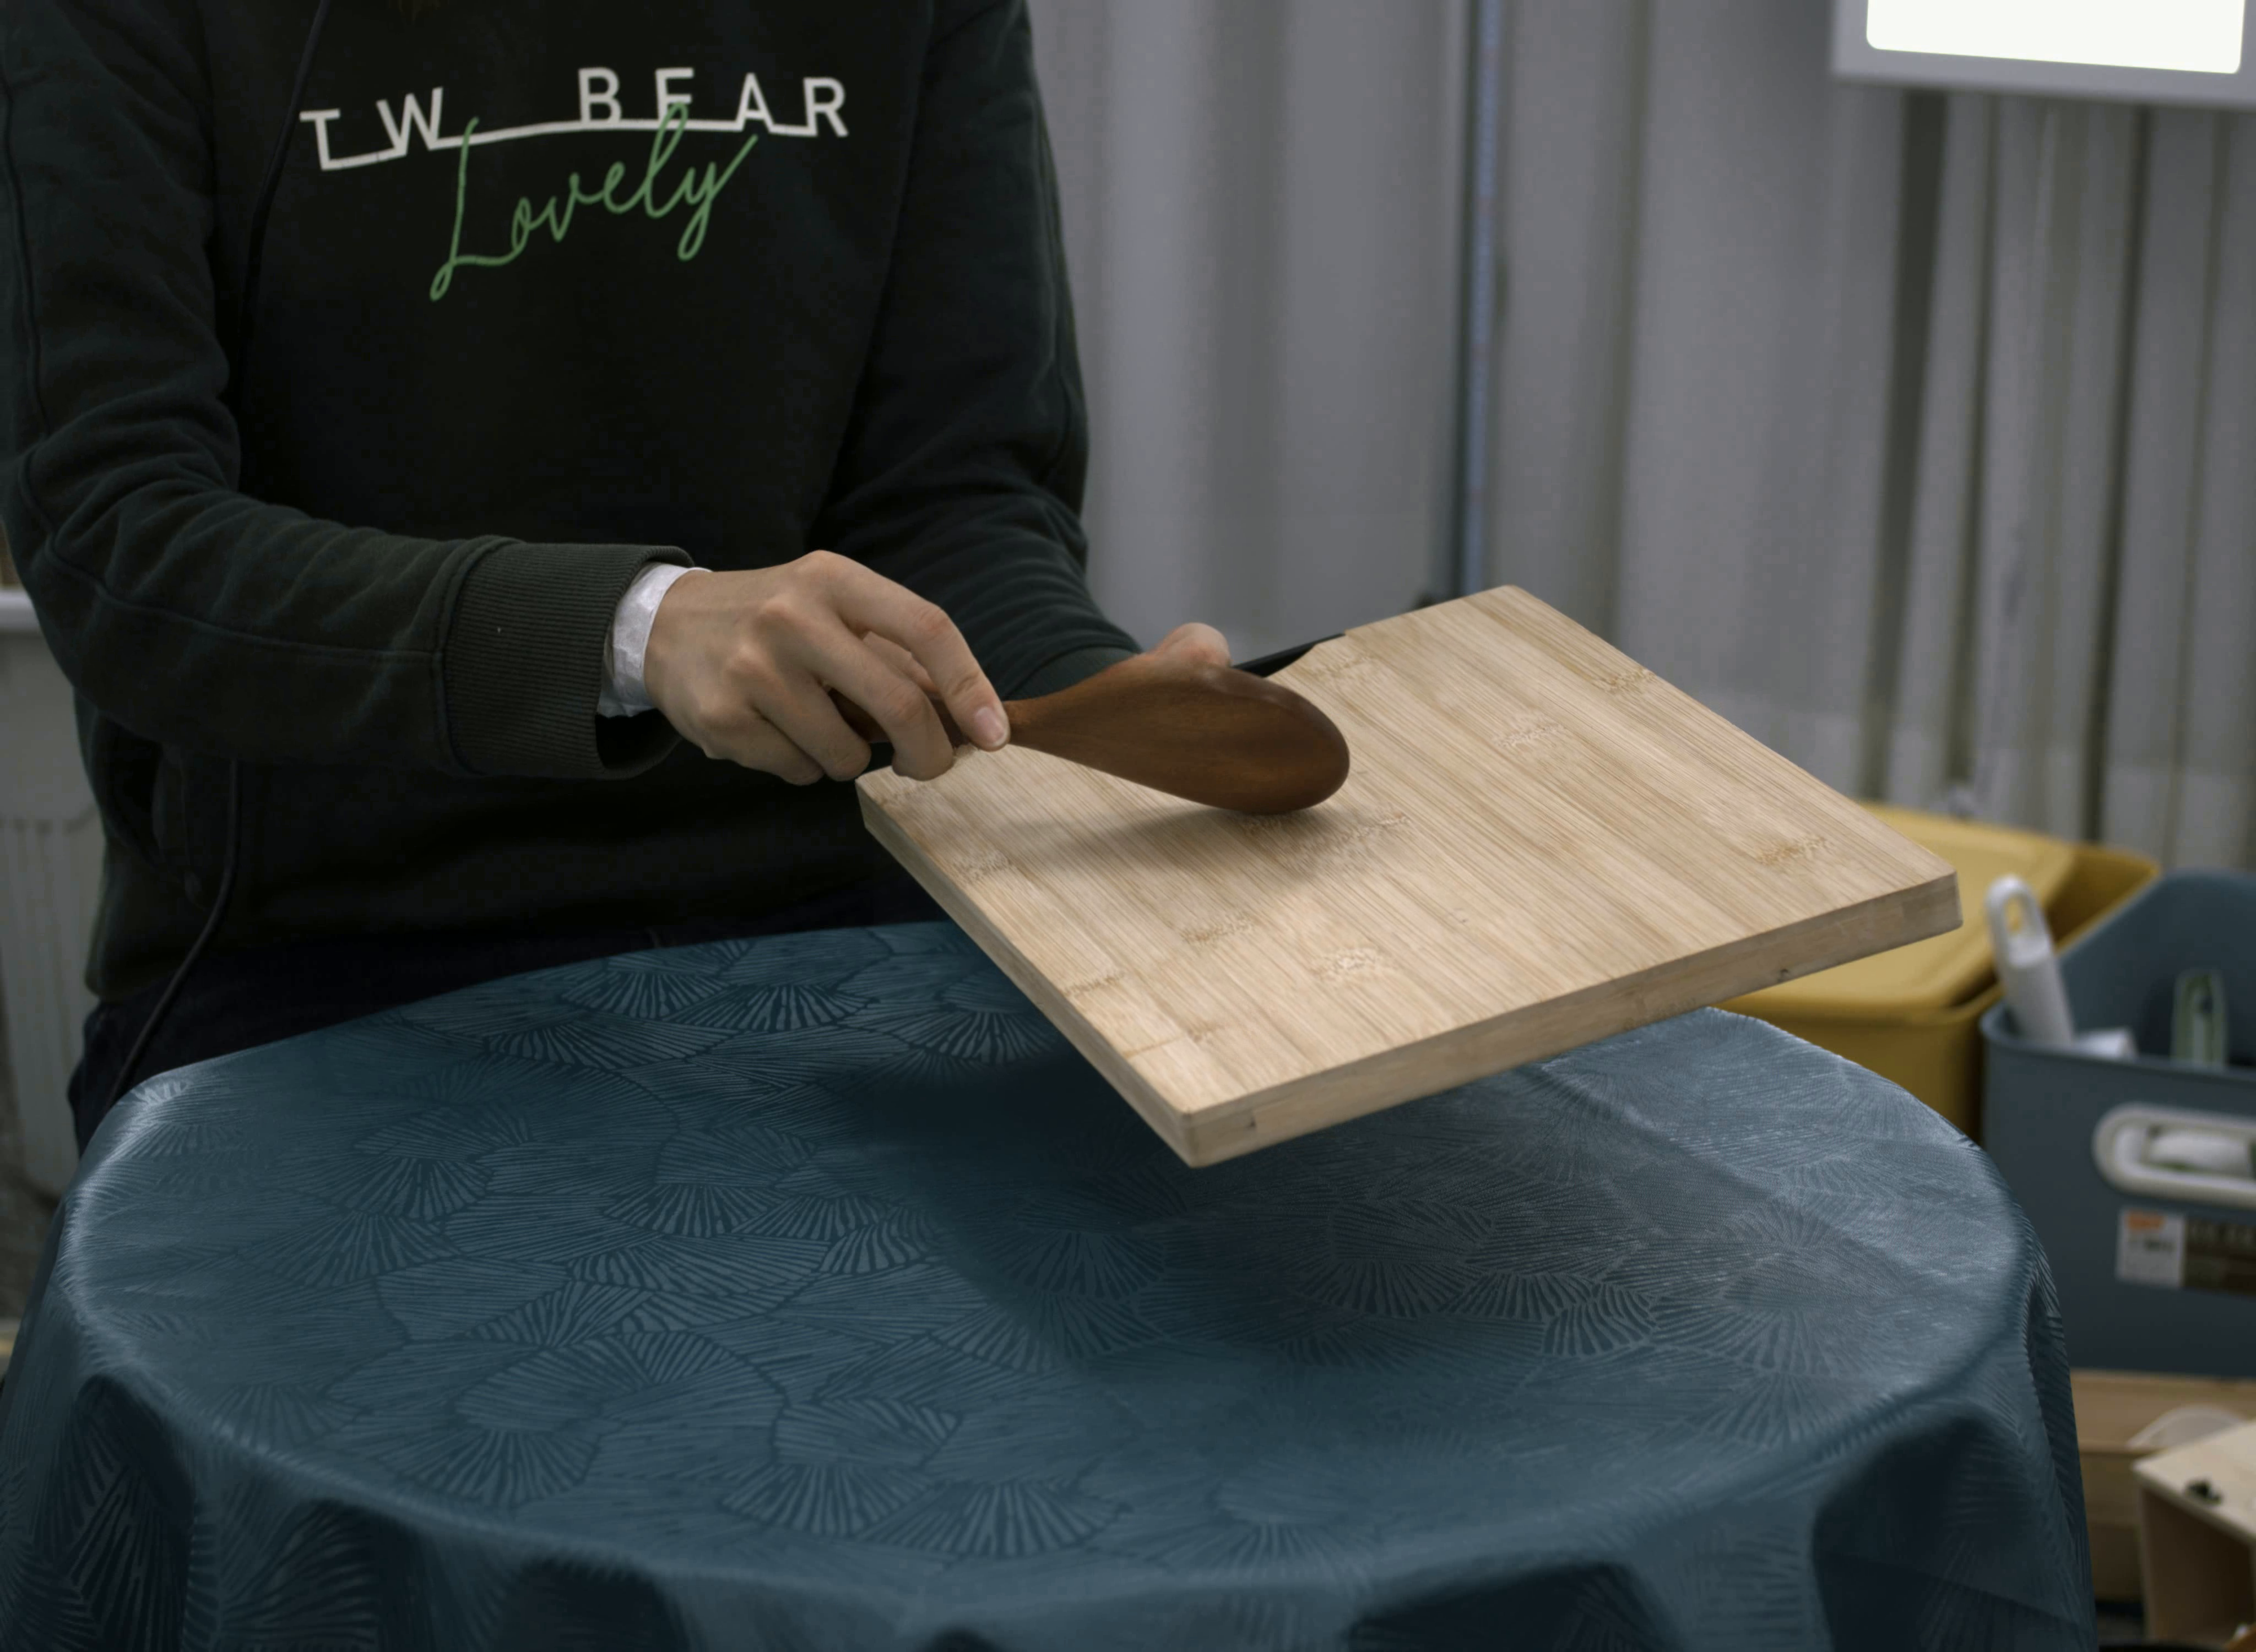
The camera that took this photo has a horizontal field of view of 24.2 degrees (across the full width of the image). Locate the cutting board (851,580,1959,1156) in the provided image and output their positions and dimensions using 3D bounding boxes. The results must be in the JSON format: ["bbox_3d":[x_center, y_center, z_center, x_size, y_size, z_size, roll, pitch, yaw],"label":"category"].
[{"bbox_3d":[0.073,0.005,1.630,0.251,0.024,0.344,-16,21,-15],"label":"cutting board"}]

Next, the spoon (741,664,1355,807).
[{"bbox_3d":[-0.029,-0.031,1.651,0.213,0.017,0.076,6,-27,28],"label":"spoon"}]
